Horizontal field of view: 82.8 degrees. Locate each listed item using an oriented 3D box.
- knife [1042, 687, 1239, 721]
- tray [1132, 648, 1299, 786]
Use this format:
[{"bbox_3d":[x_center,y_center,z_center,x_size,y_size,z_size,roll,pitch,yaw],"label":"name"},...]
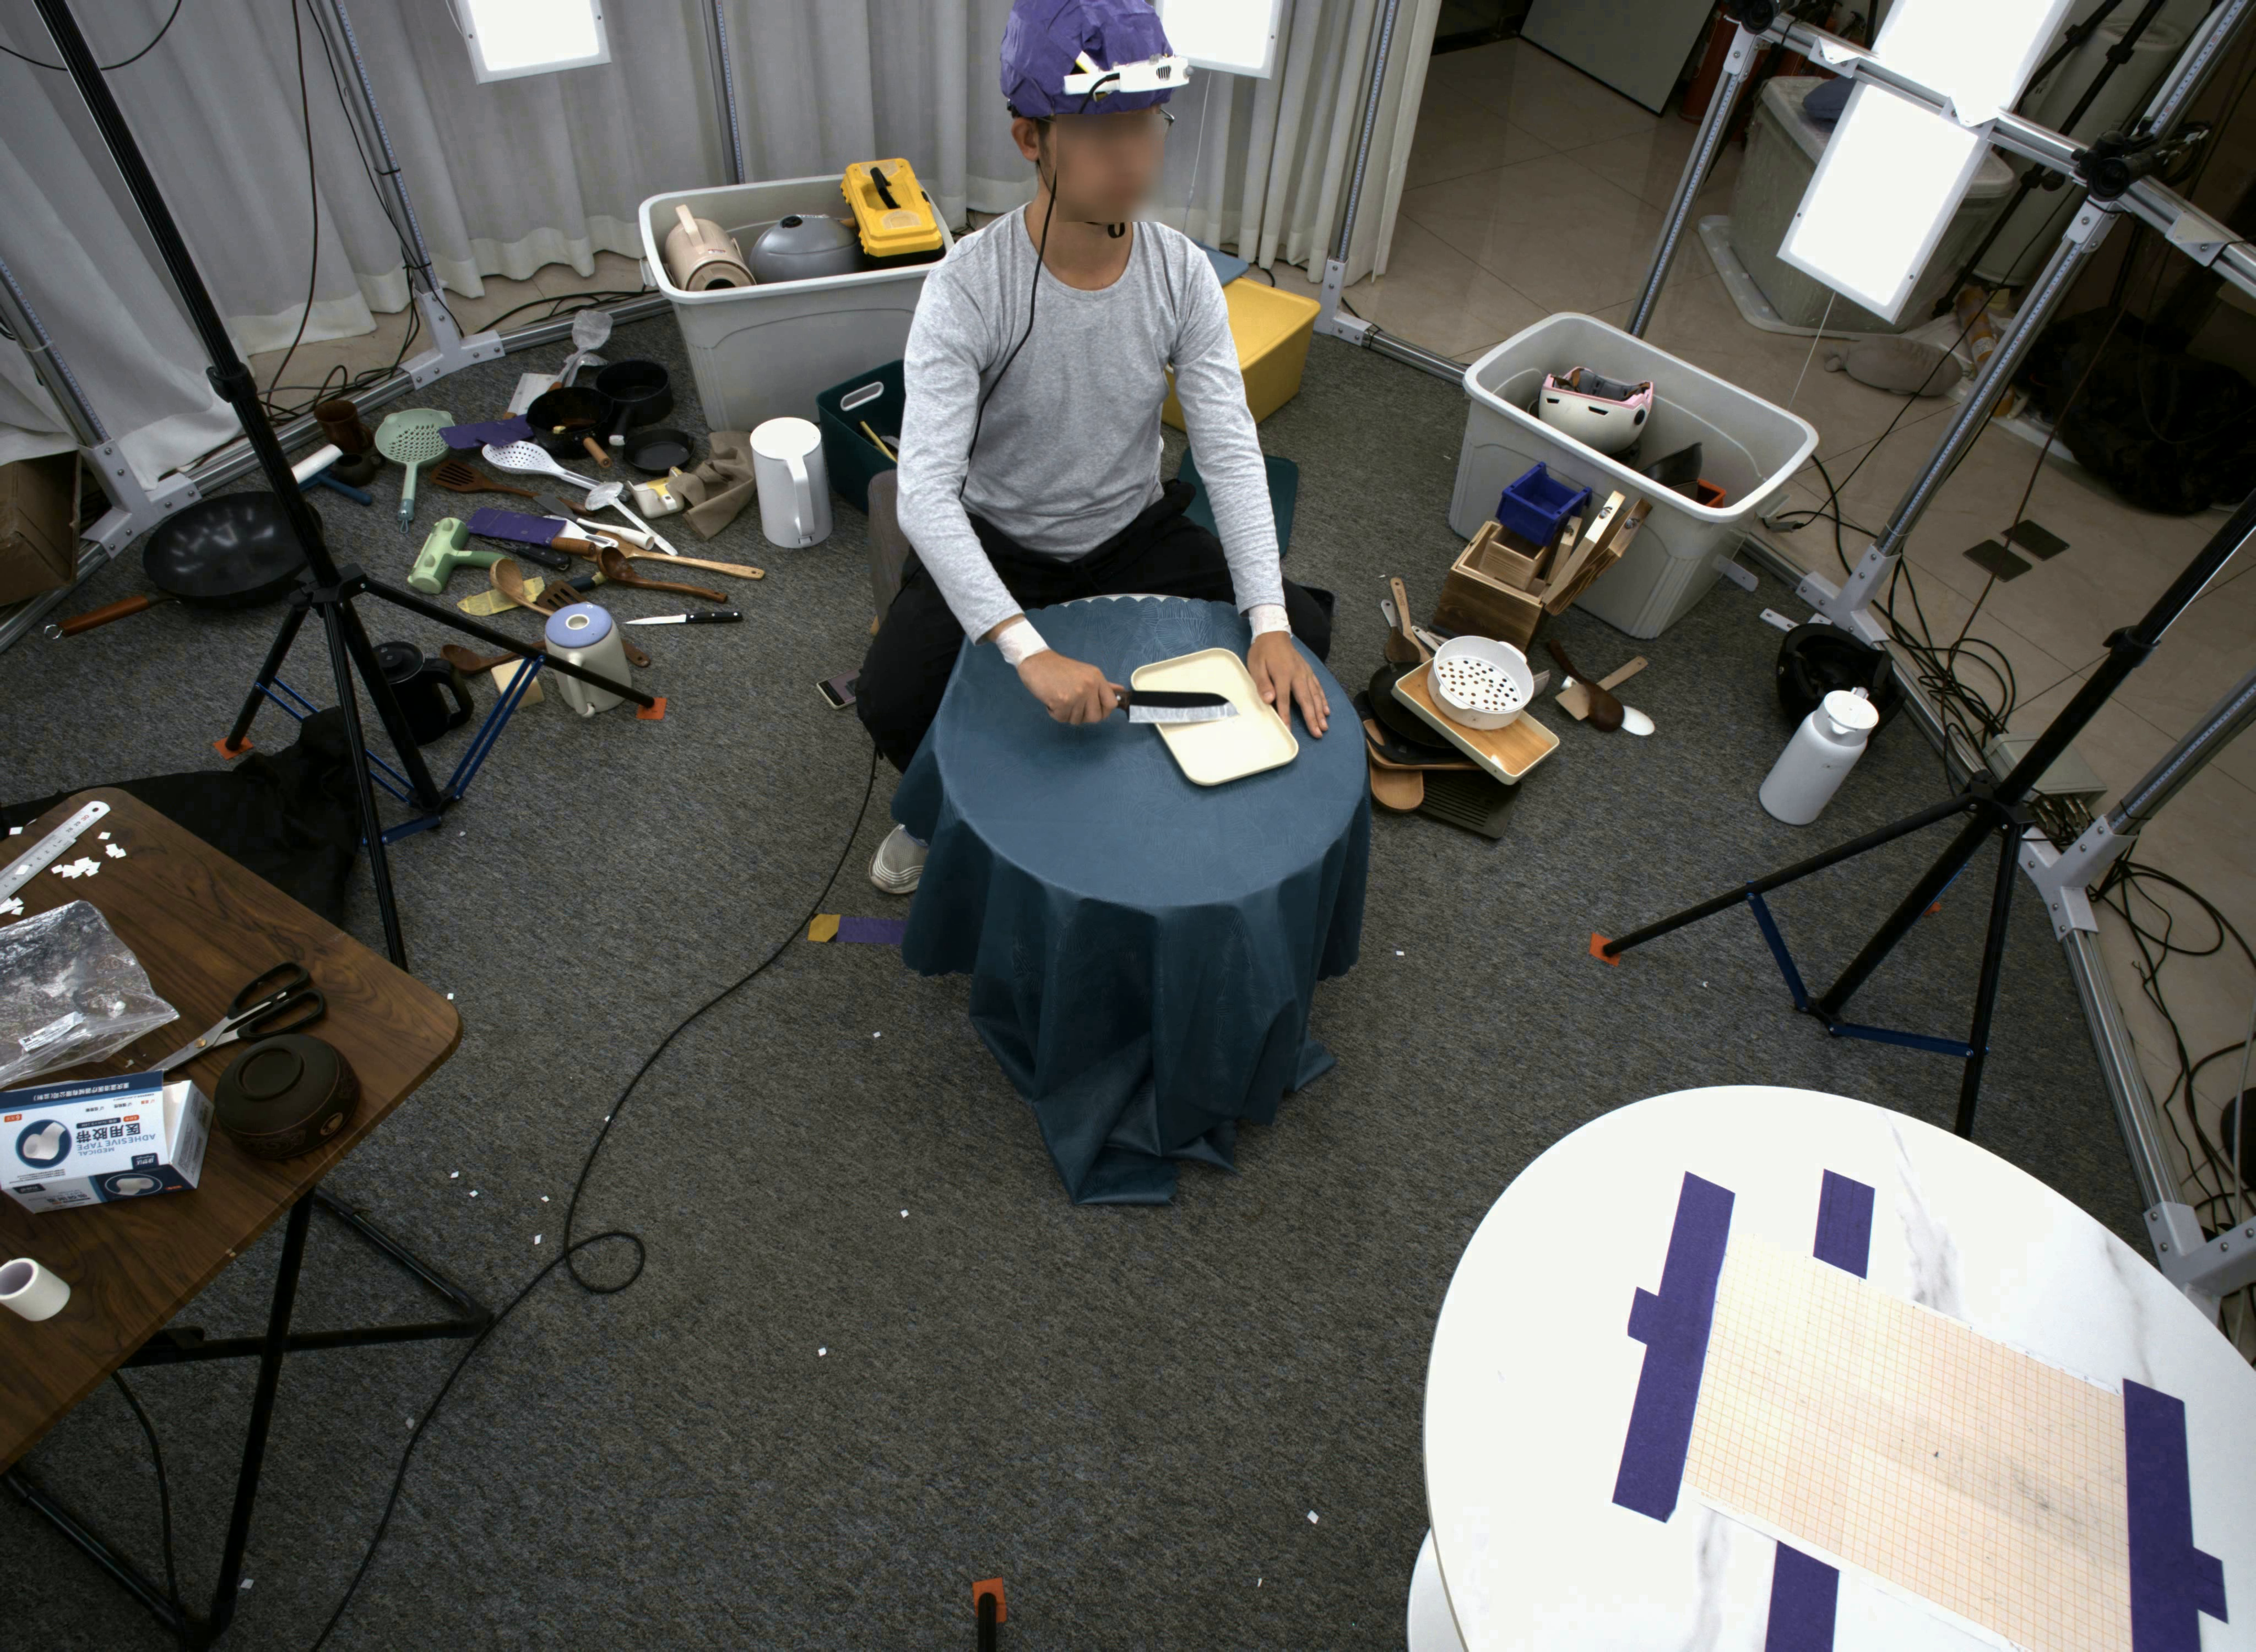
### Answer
[{"bbox_3d":[0.021,-0.169,1.767,0.288,0.020,0.050,1,89,-19],"label":"knife"},{"bbox_3d":[0.119,-0.154,1.798,0.171,0.017,0.245,-15,52,-17],"label":"tray"}]
